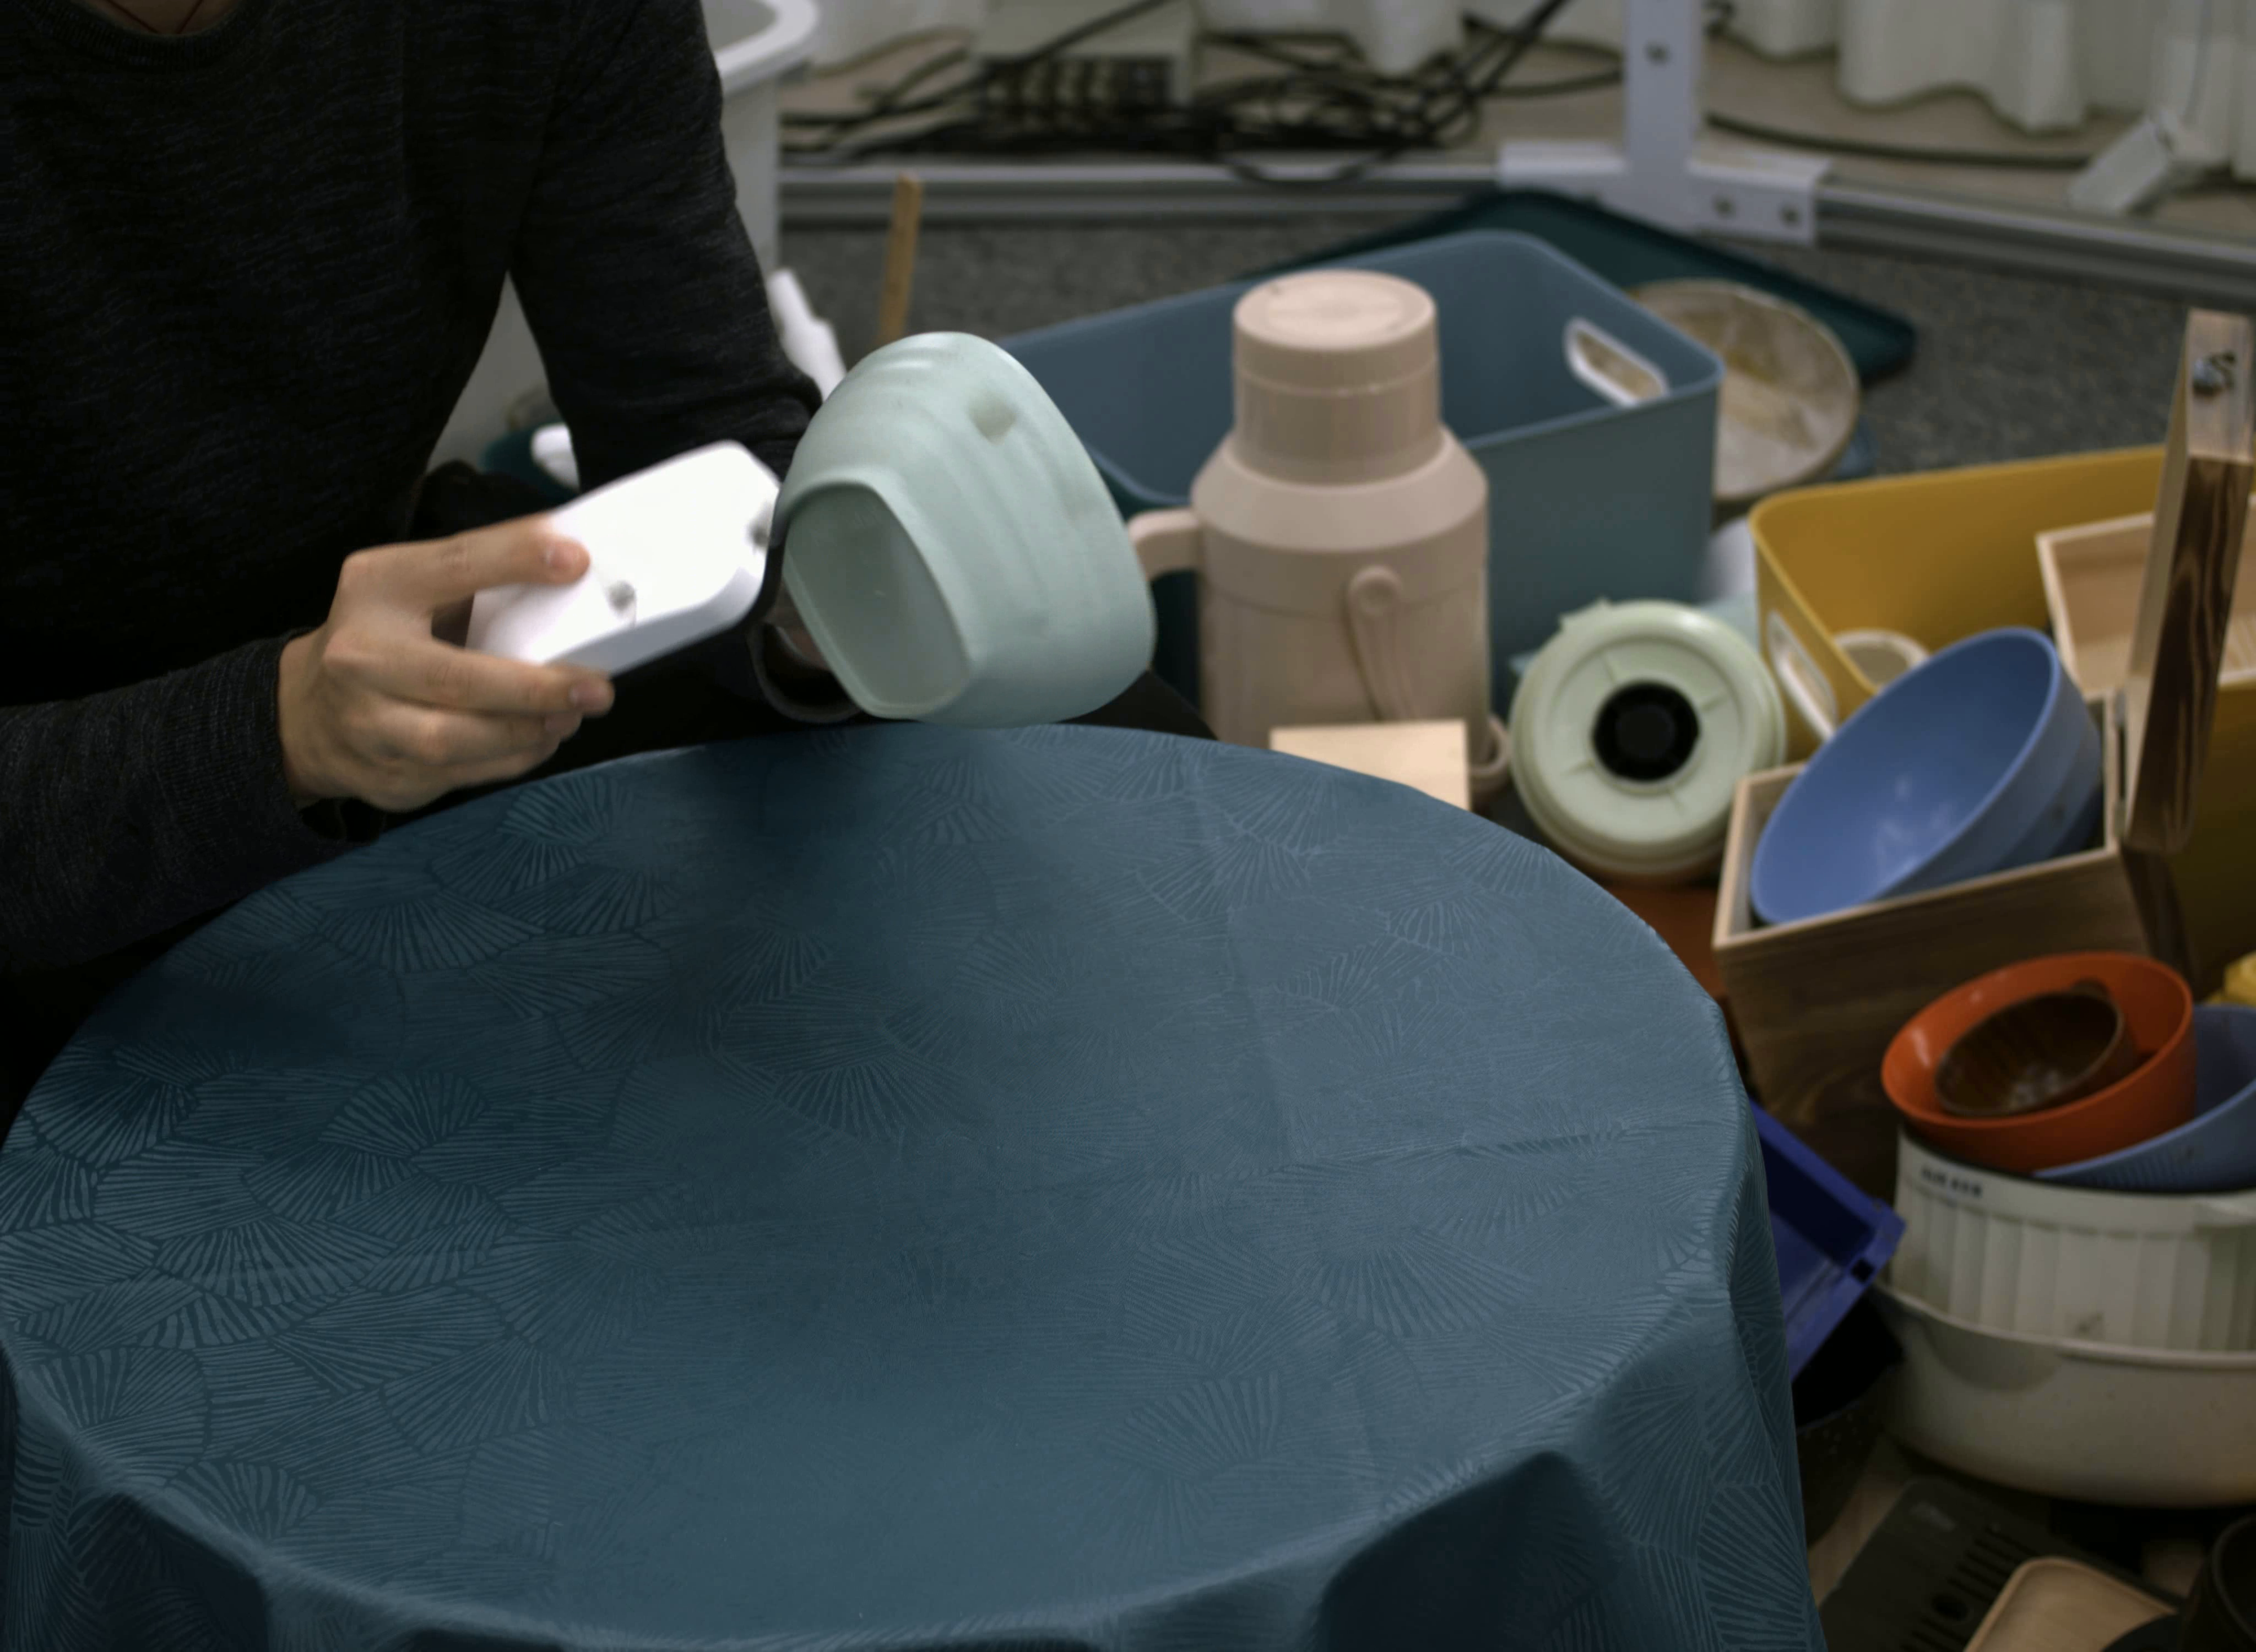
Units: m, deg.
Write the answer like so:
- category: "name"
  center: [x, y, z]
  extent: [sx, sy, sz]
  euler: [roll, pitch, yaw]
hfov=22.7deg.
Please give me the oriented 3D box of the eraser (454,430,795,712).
- category: "eraser"
  center: [-0.163, -0.082, 1.803]
  extent: [0.129, 0.034, 0.064]
  euler: [-20, 49, 36]

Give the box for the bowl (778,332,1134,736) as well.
- category: "bowl"
  center: [-0.069, -0.086, 1.848]
  extent: [0.059, 0.150, 0.151]
  euler: [-28, 36, -32]
